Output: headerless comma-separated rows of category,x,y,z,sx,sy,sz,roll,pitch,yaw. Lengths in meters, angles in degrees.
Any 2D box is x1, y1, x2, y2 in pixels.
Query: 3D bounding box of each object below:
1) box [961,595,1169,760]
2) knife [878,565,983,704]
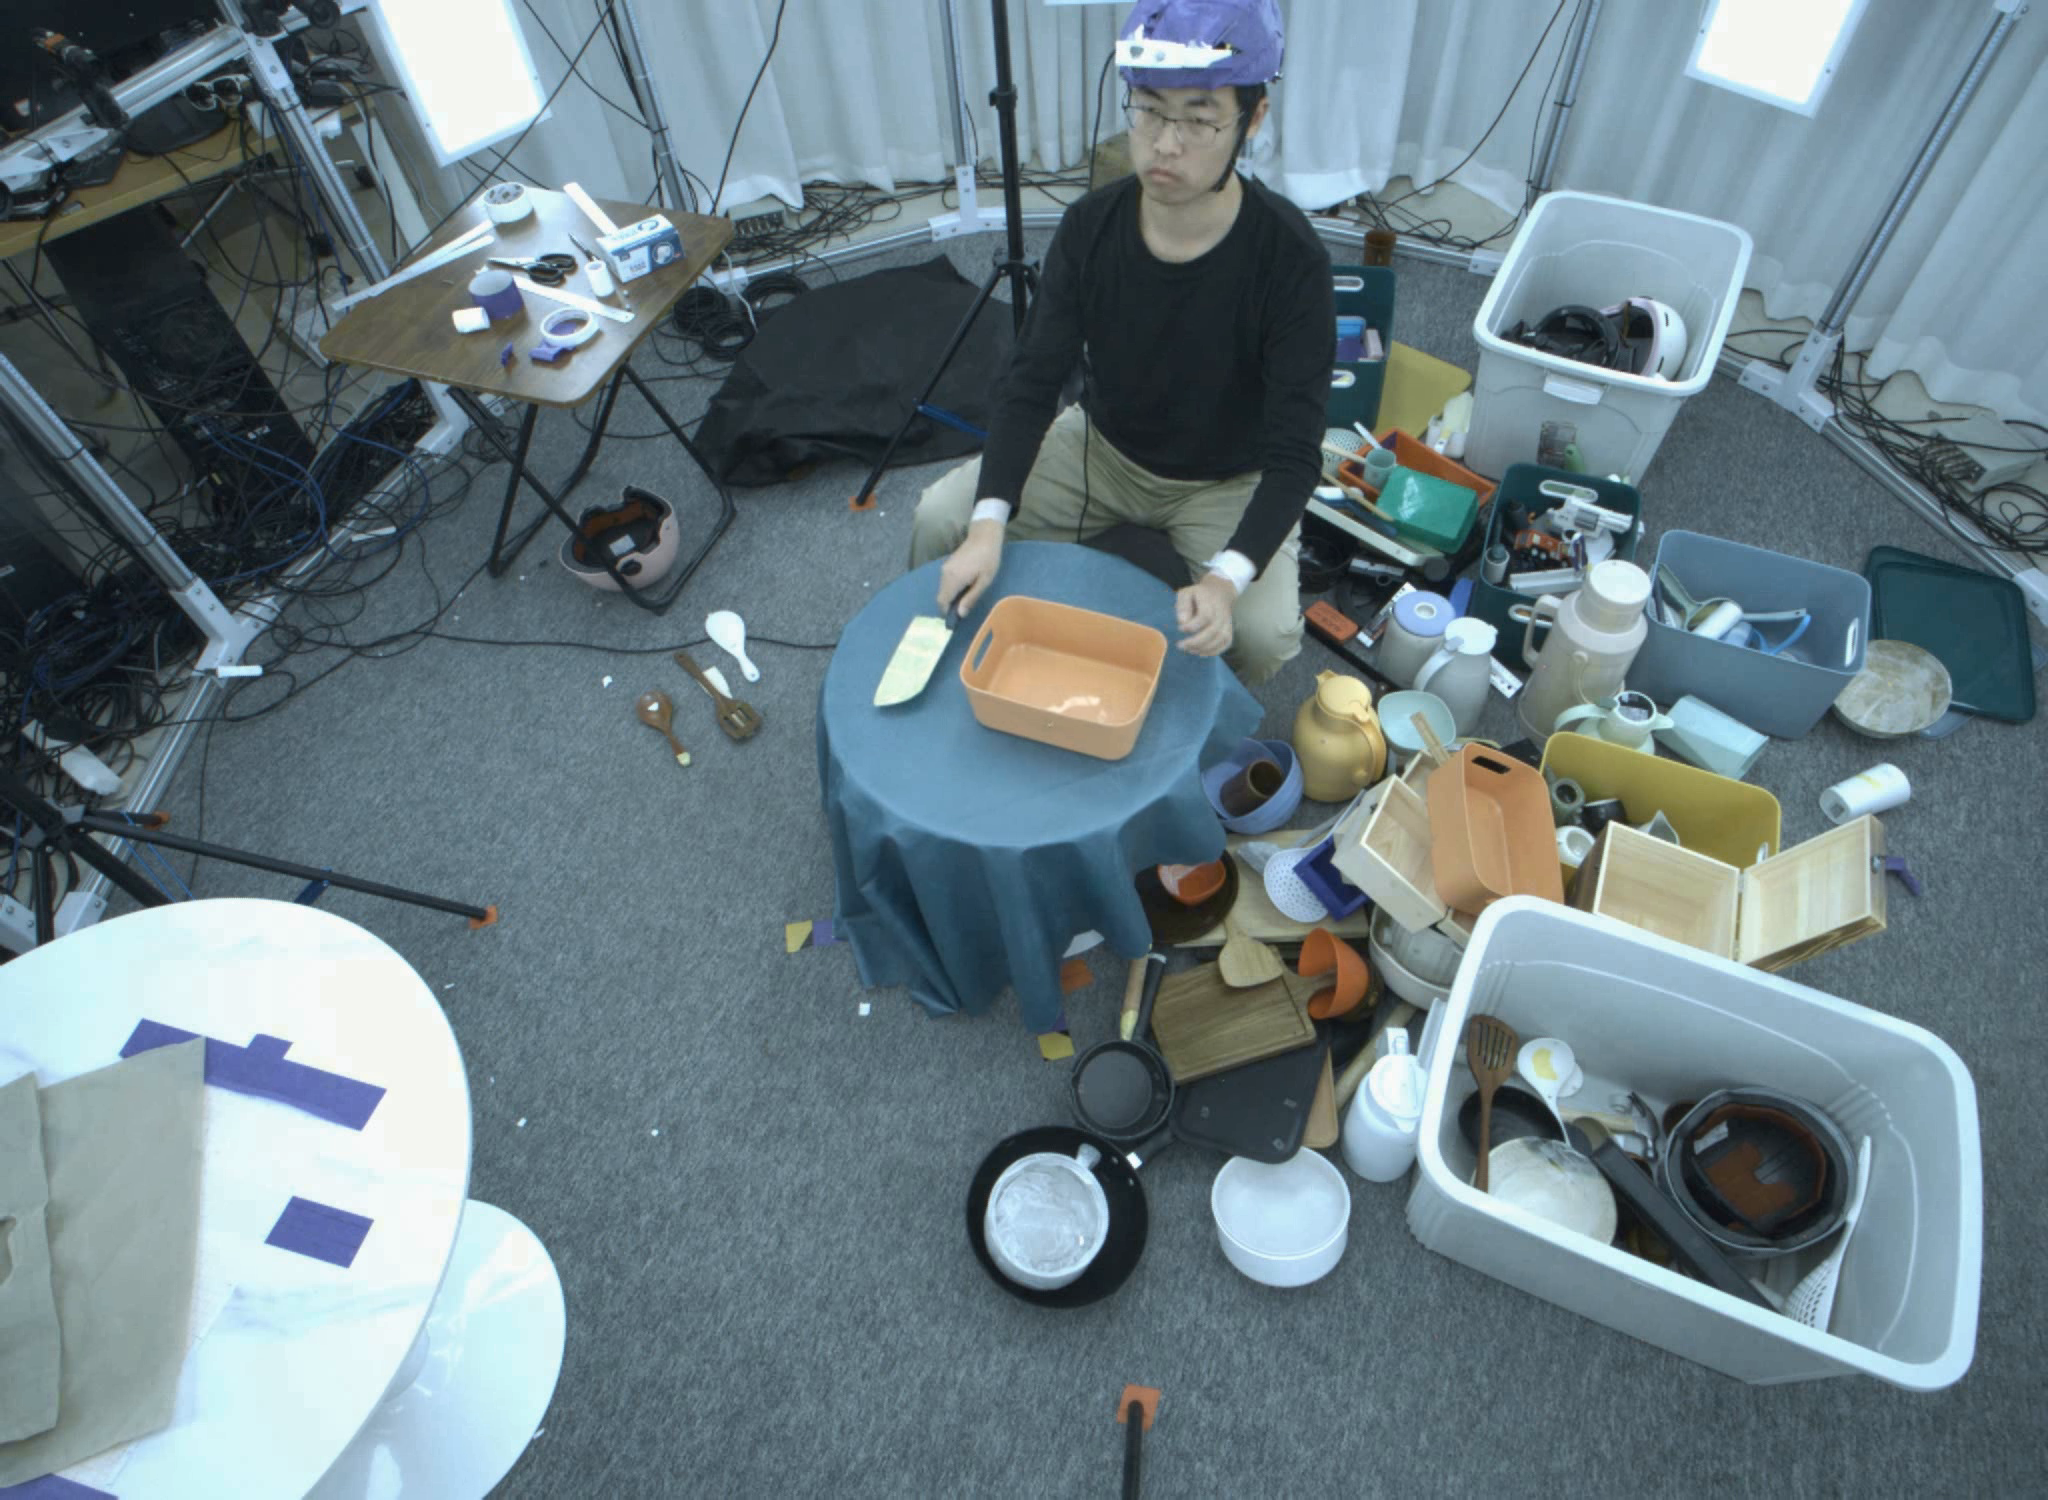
box,0.063,-0.104,1.795,0.270,0.104,0.199,16,58,13
knife,-0.142,-0.180,1.877,0.080,0.027,0.289,21,62,17
